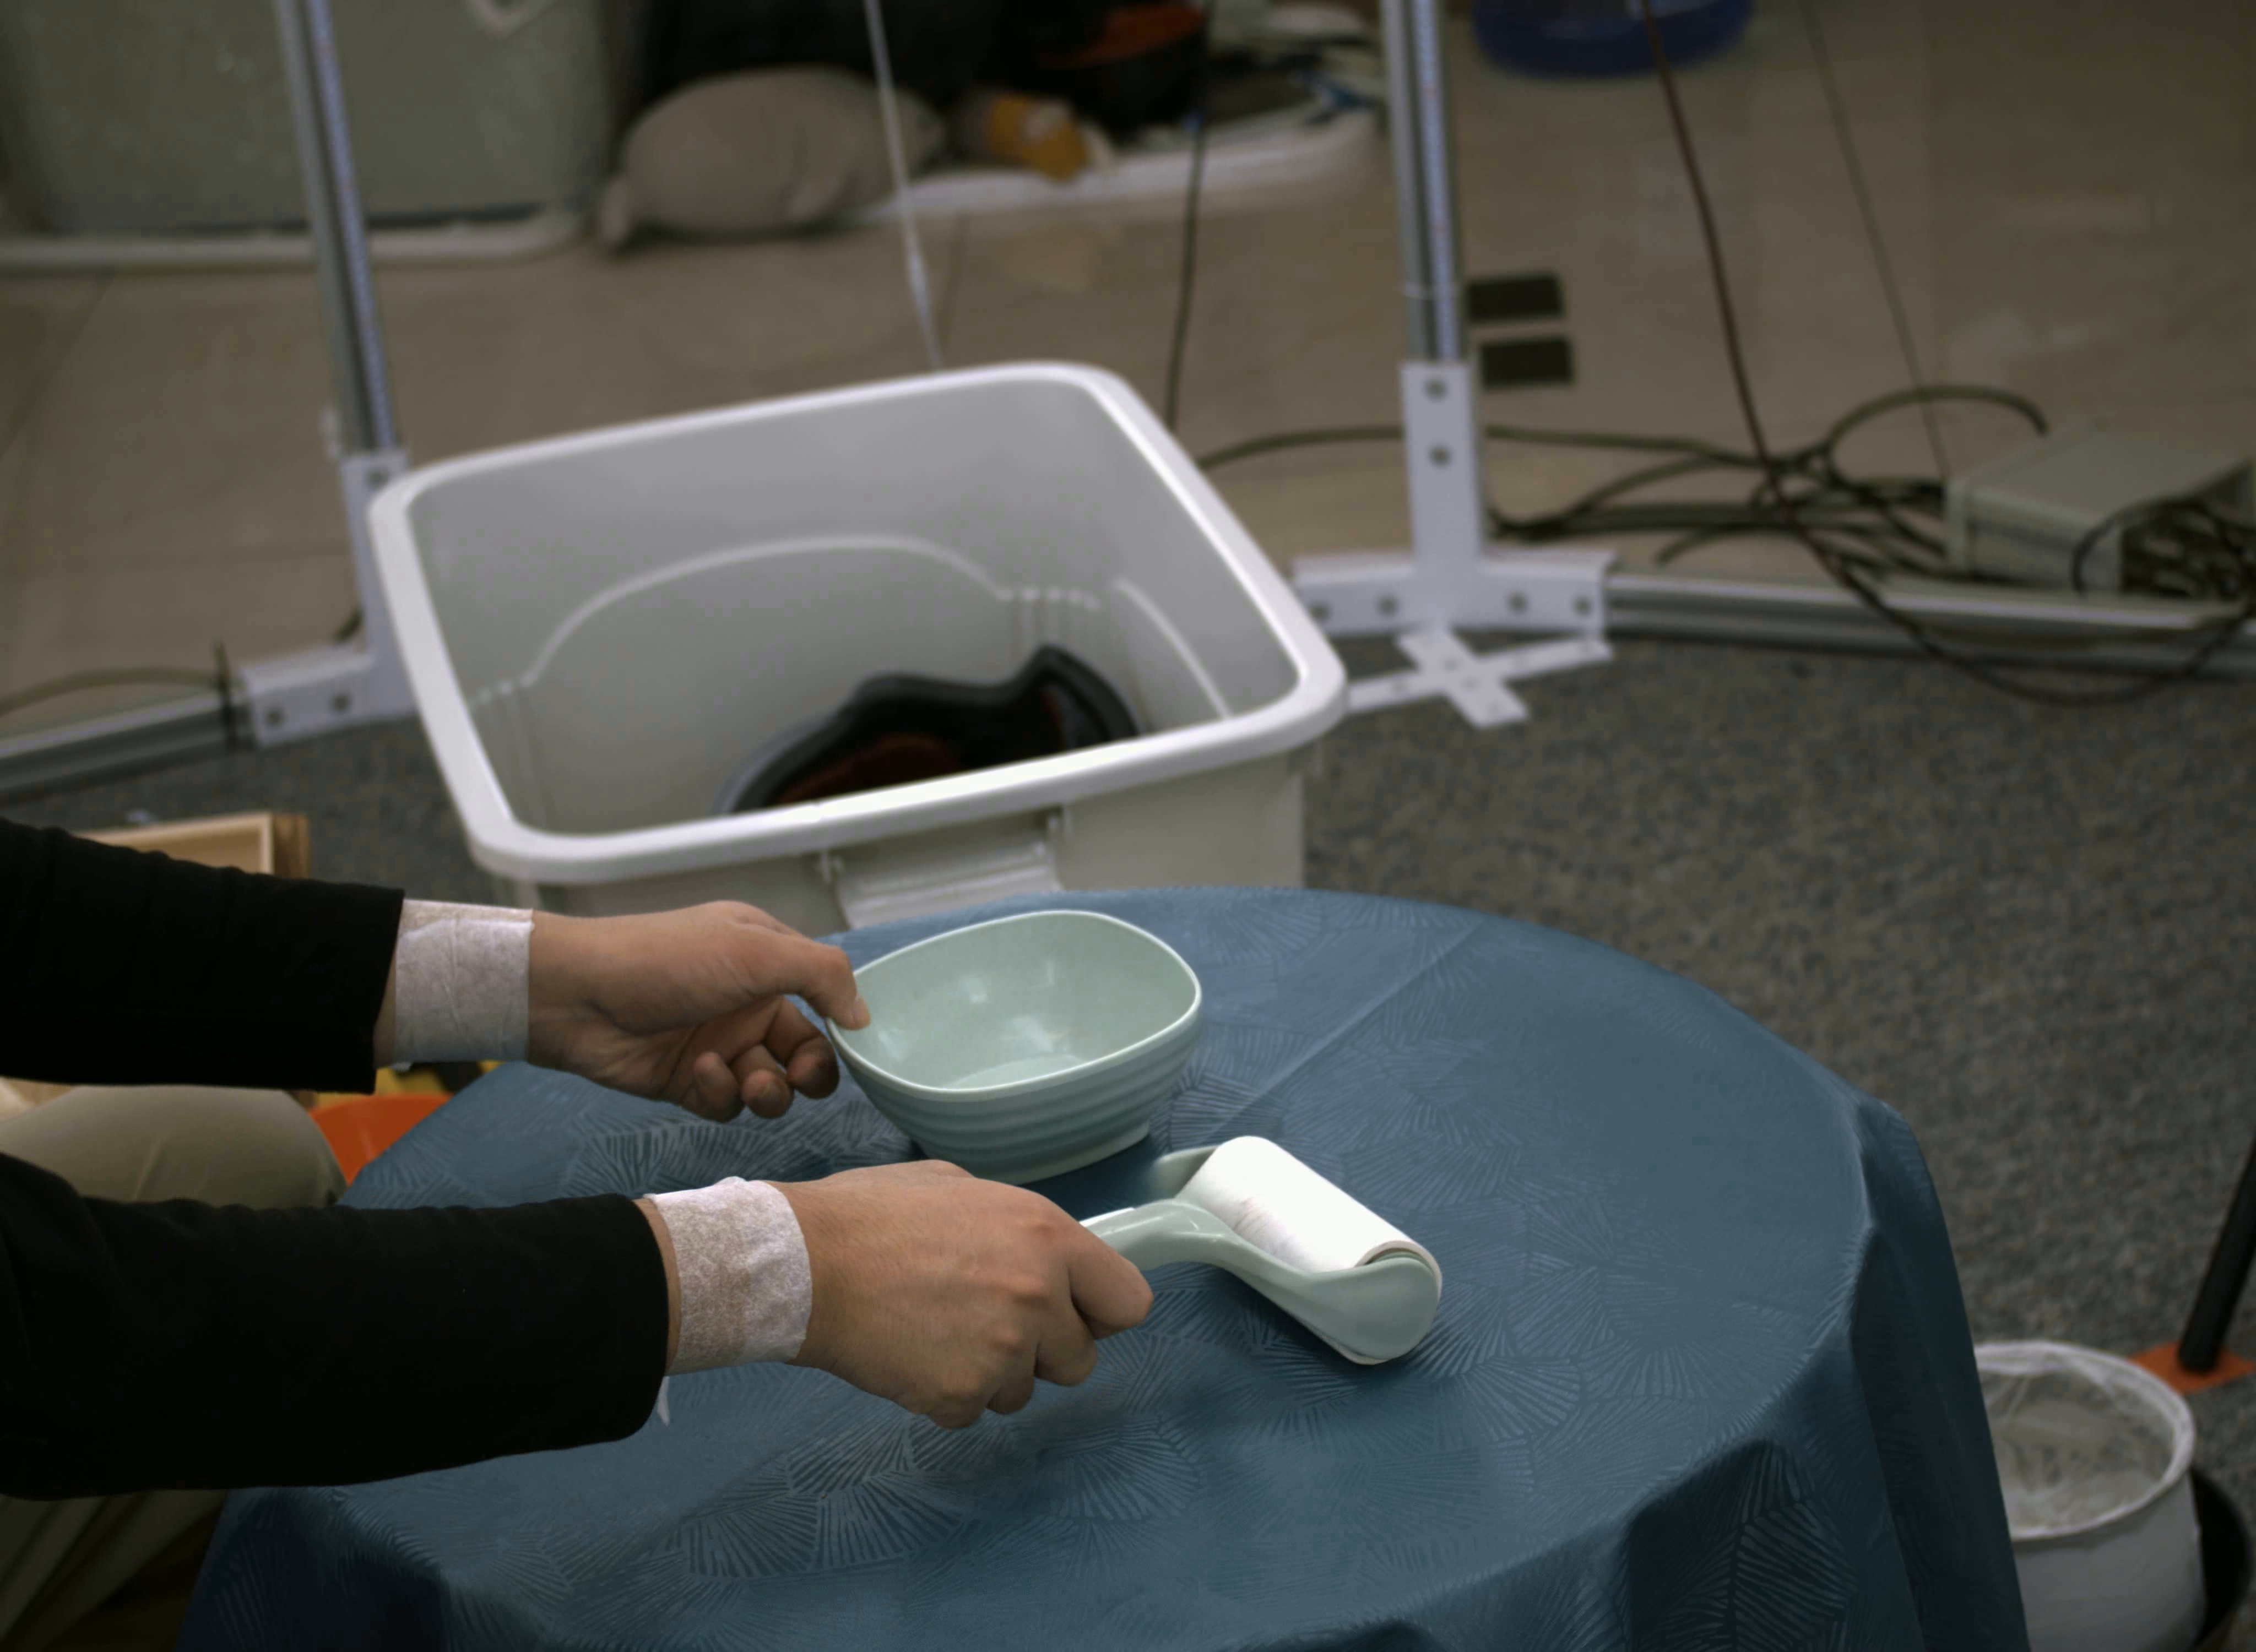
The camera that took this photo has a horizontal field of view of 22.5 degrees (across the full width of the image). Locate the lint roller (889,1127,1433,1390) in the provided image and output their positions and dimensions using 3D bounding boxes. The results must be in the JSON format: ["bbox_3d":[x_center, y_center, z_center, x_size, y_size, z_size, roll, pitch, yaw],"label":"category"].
[{"bbox_3d":[0.000,0.158,2.012,0.197,0.049,0.115,-8,25,-32],"label":"lint roller"}]

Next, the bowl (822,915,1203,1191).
[{"bbox_3d":[-0.043,0.093,2.190,0.151,0.059,0.149,-4,26,2],"label":"bowl"}]
